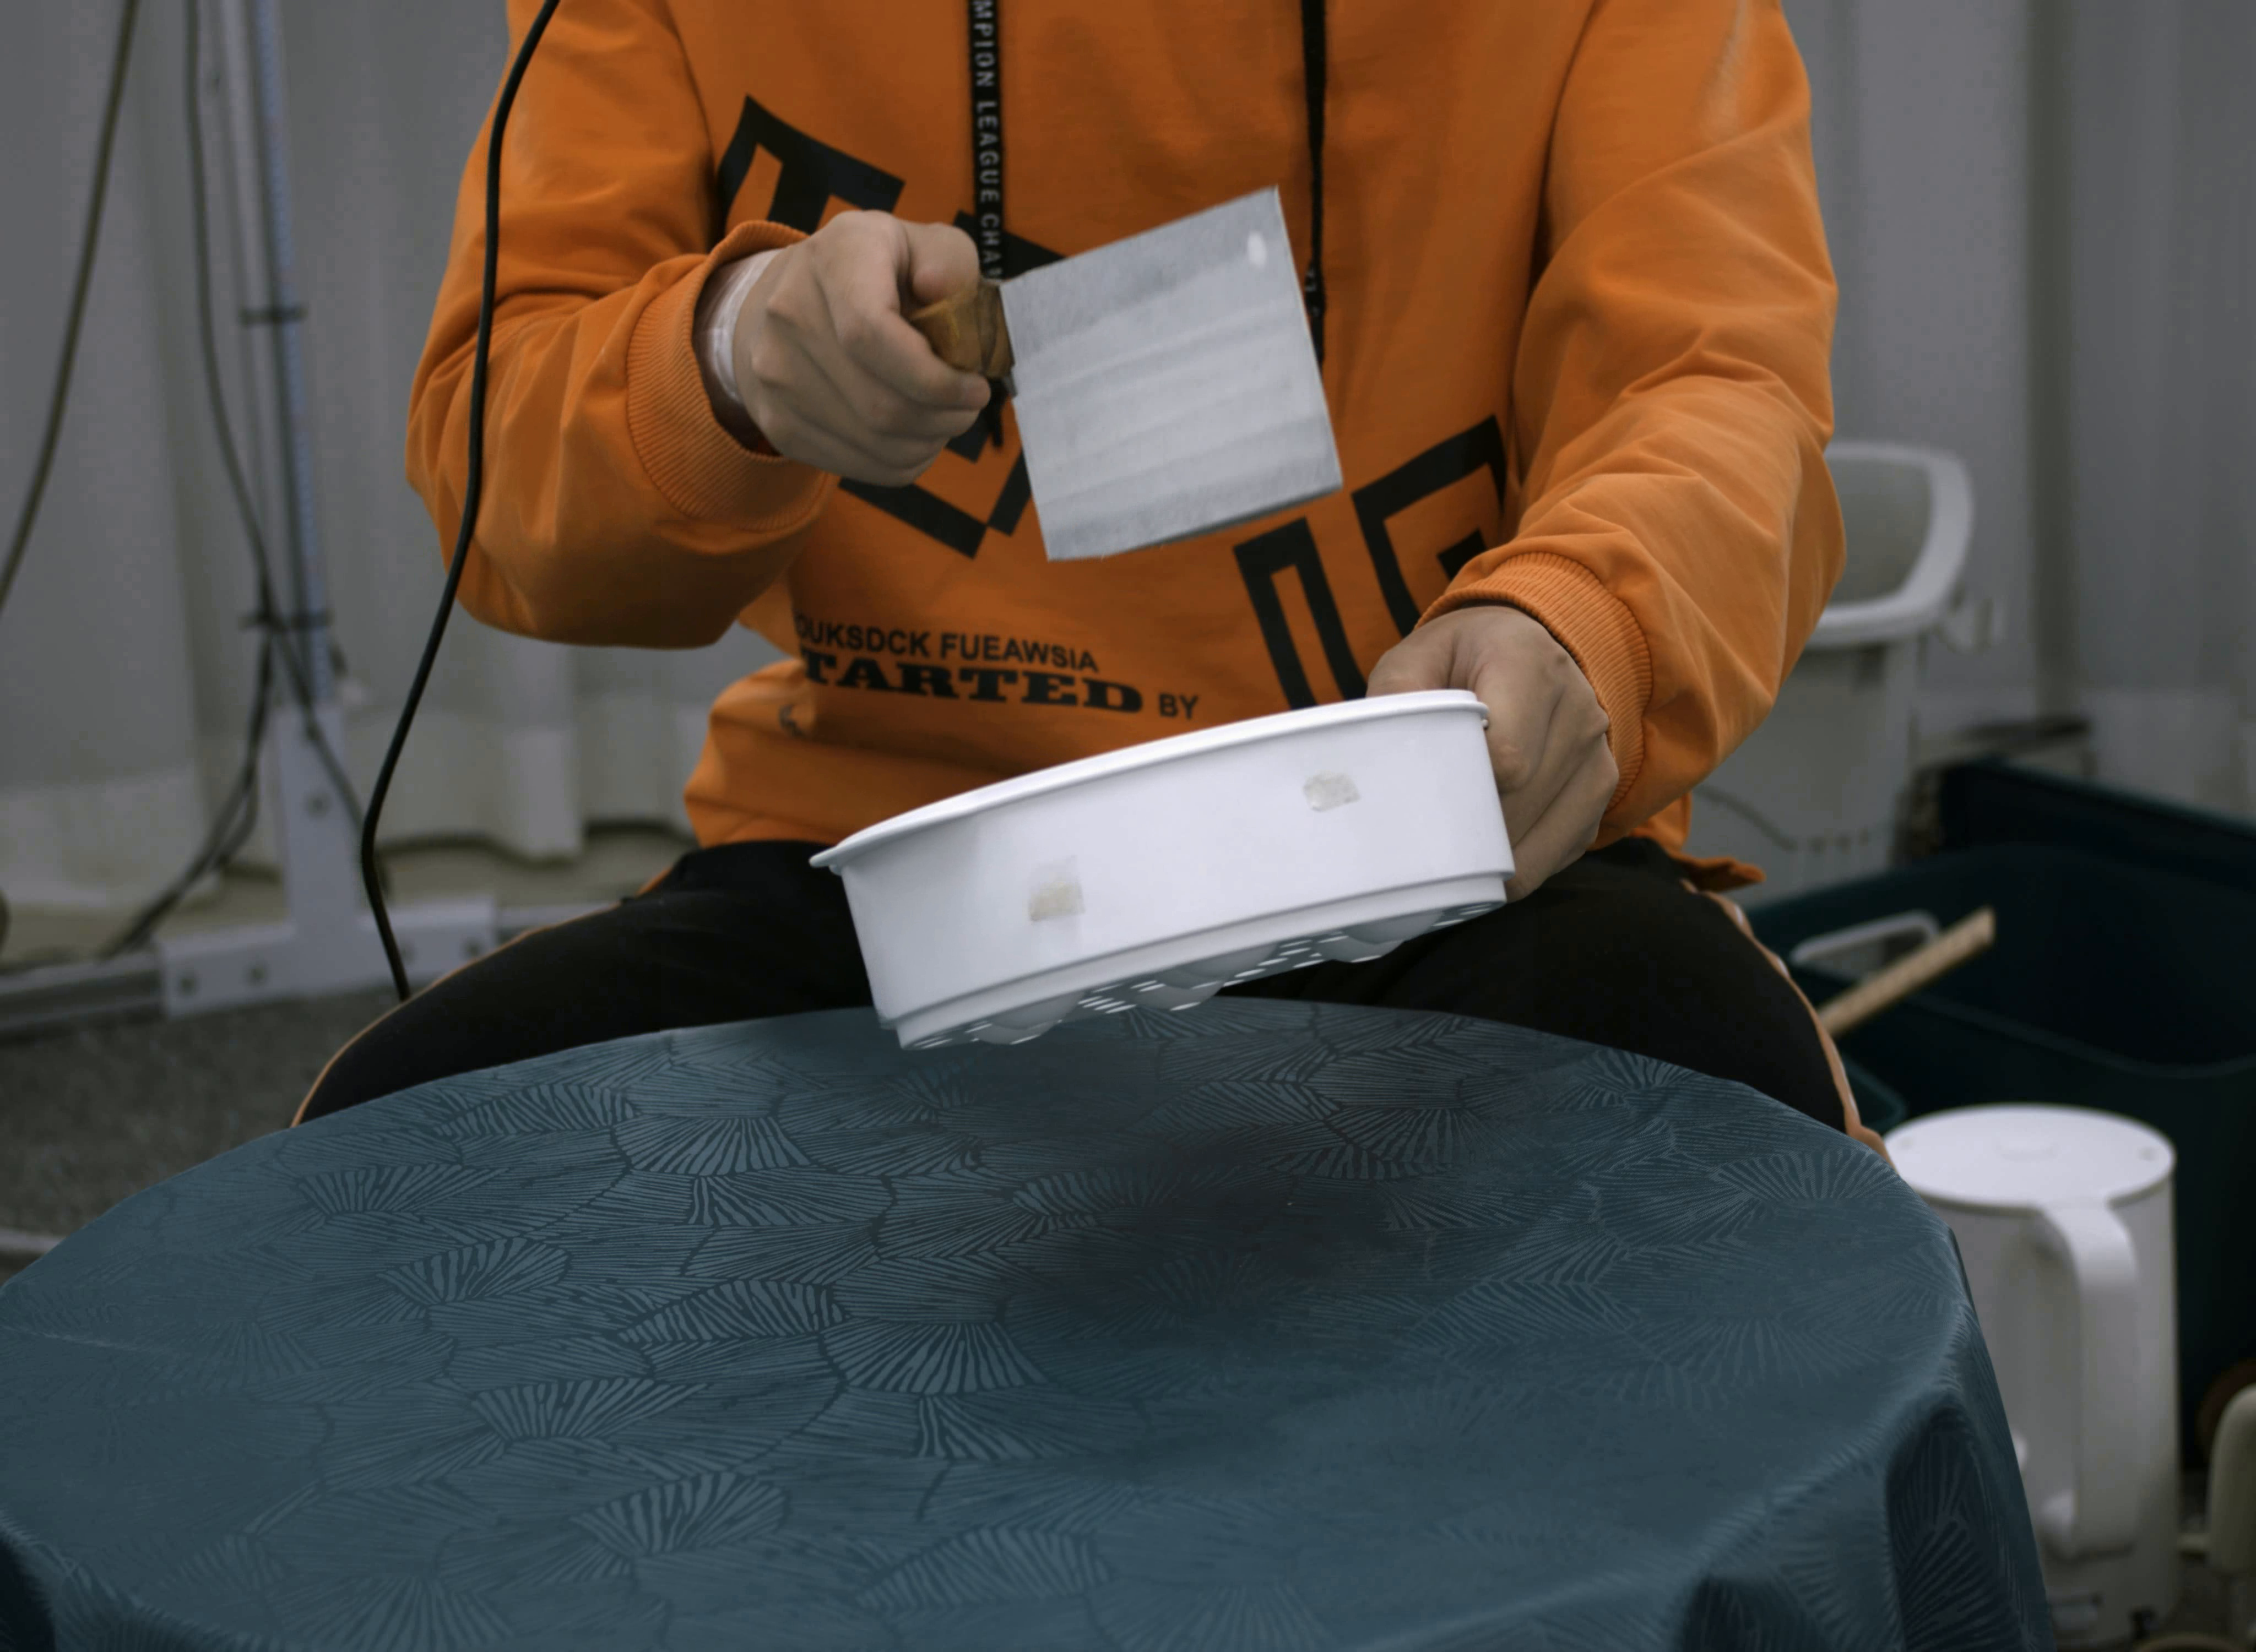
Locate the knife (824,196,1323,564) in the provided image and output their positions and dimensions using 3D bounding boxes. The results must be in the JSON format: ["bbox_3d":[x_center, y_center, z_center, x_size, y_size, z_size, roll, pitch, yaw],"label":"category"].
[{"bbox_3d":[-0.019,-0.129,1.701,0.021,0.093,0.306,-15,3,-27],"label":"knife"}]

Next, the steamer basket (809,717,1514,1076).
[{"bbox_3d":[0.015,0.023,1.612,0.230,0.069,0.202,-13,-2,-38],"label":"steamer basket"}]
